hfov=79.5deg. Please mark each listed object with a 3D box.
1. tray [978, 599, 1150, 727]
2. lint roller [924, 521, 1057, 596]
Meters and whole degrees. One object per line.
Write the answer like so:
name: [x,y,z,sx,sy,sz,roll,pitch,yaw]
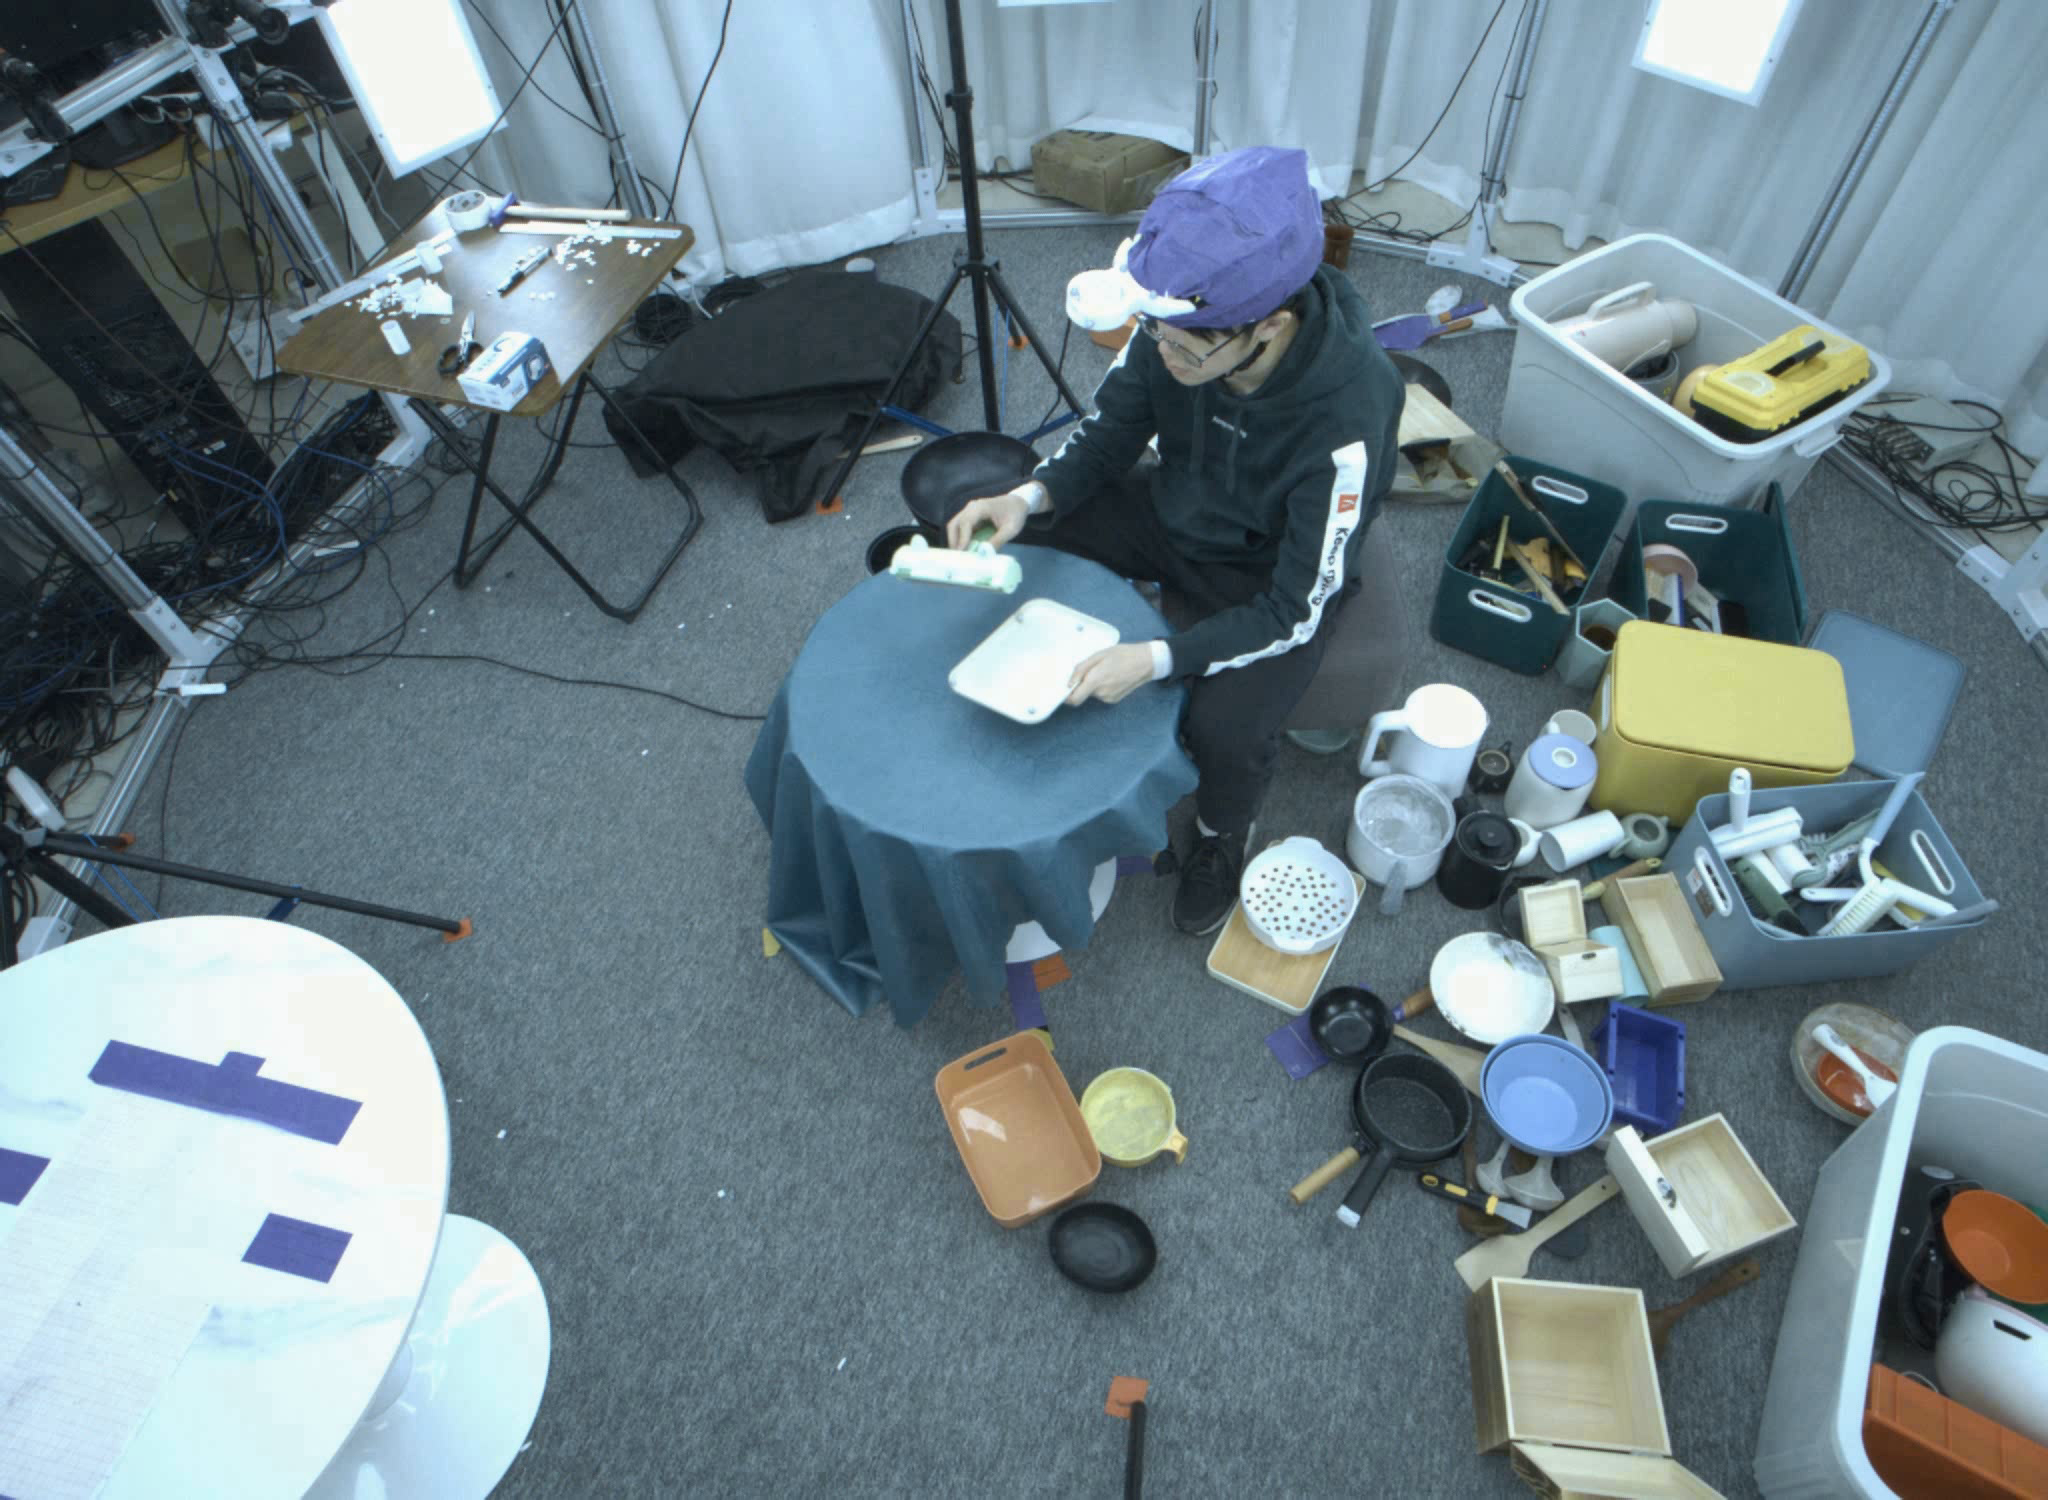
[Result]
tray: [0.060,-0.129,1.792,0.168,0.017,0.241,29,54,23]
lint roller: [-0.028,-0.304,1.810,0.195,0.083,0.183,11,52,27]
